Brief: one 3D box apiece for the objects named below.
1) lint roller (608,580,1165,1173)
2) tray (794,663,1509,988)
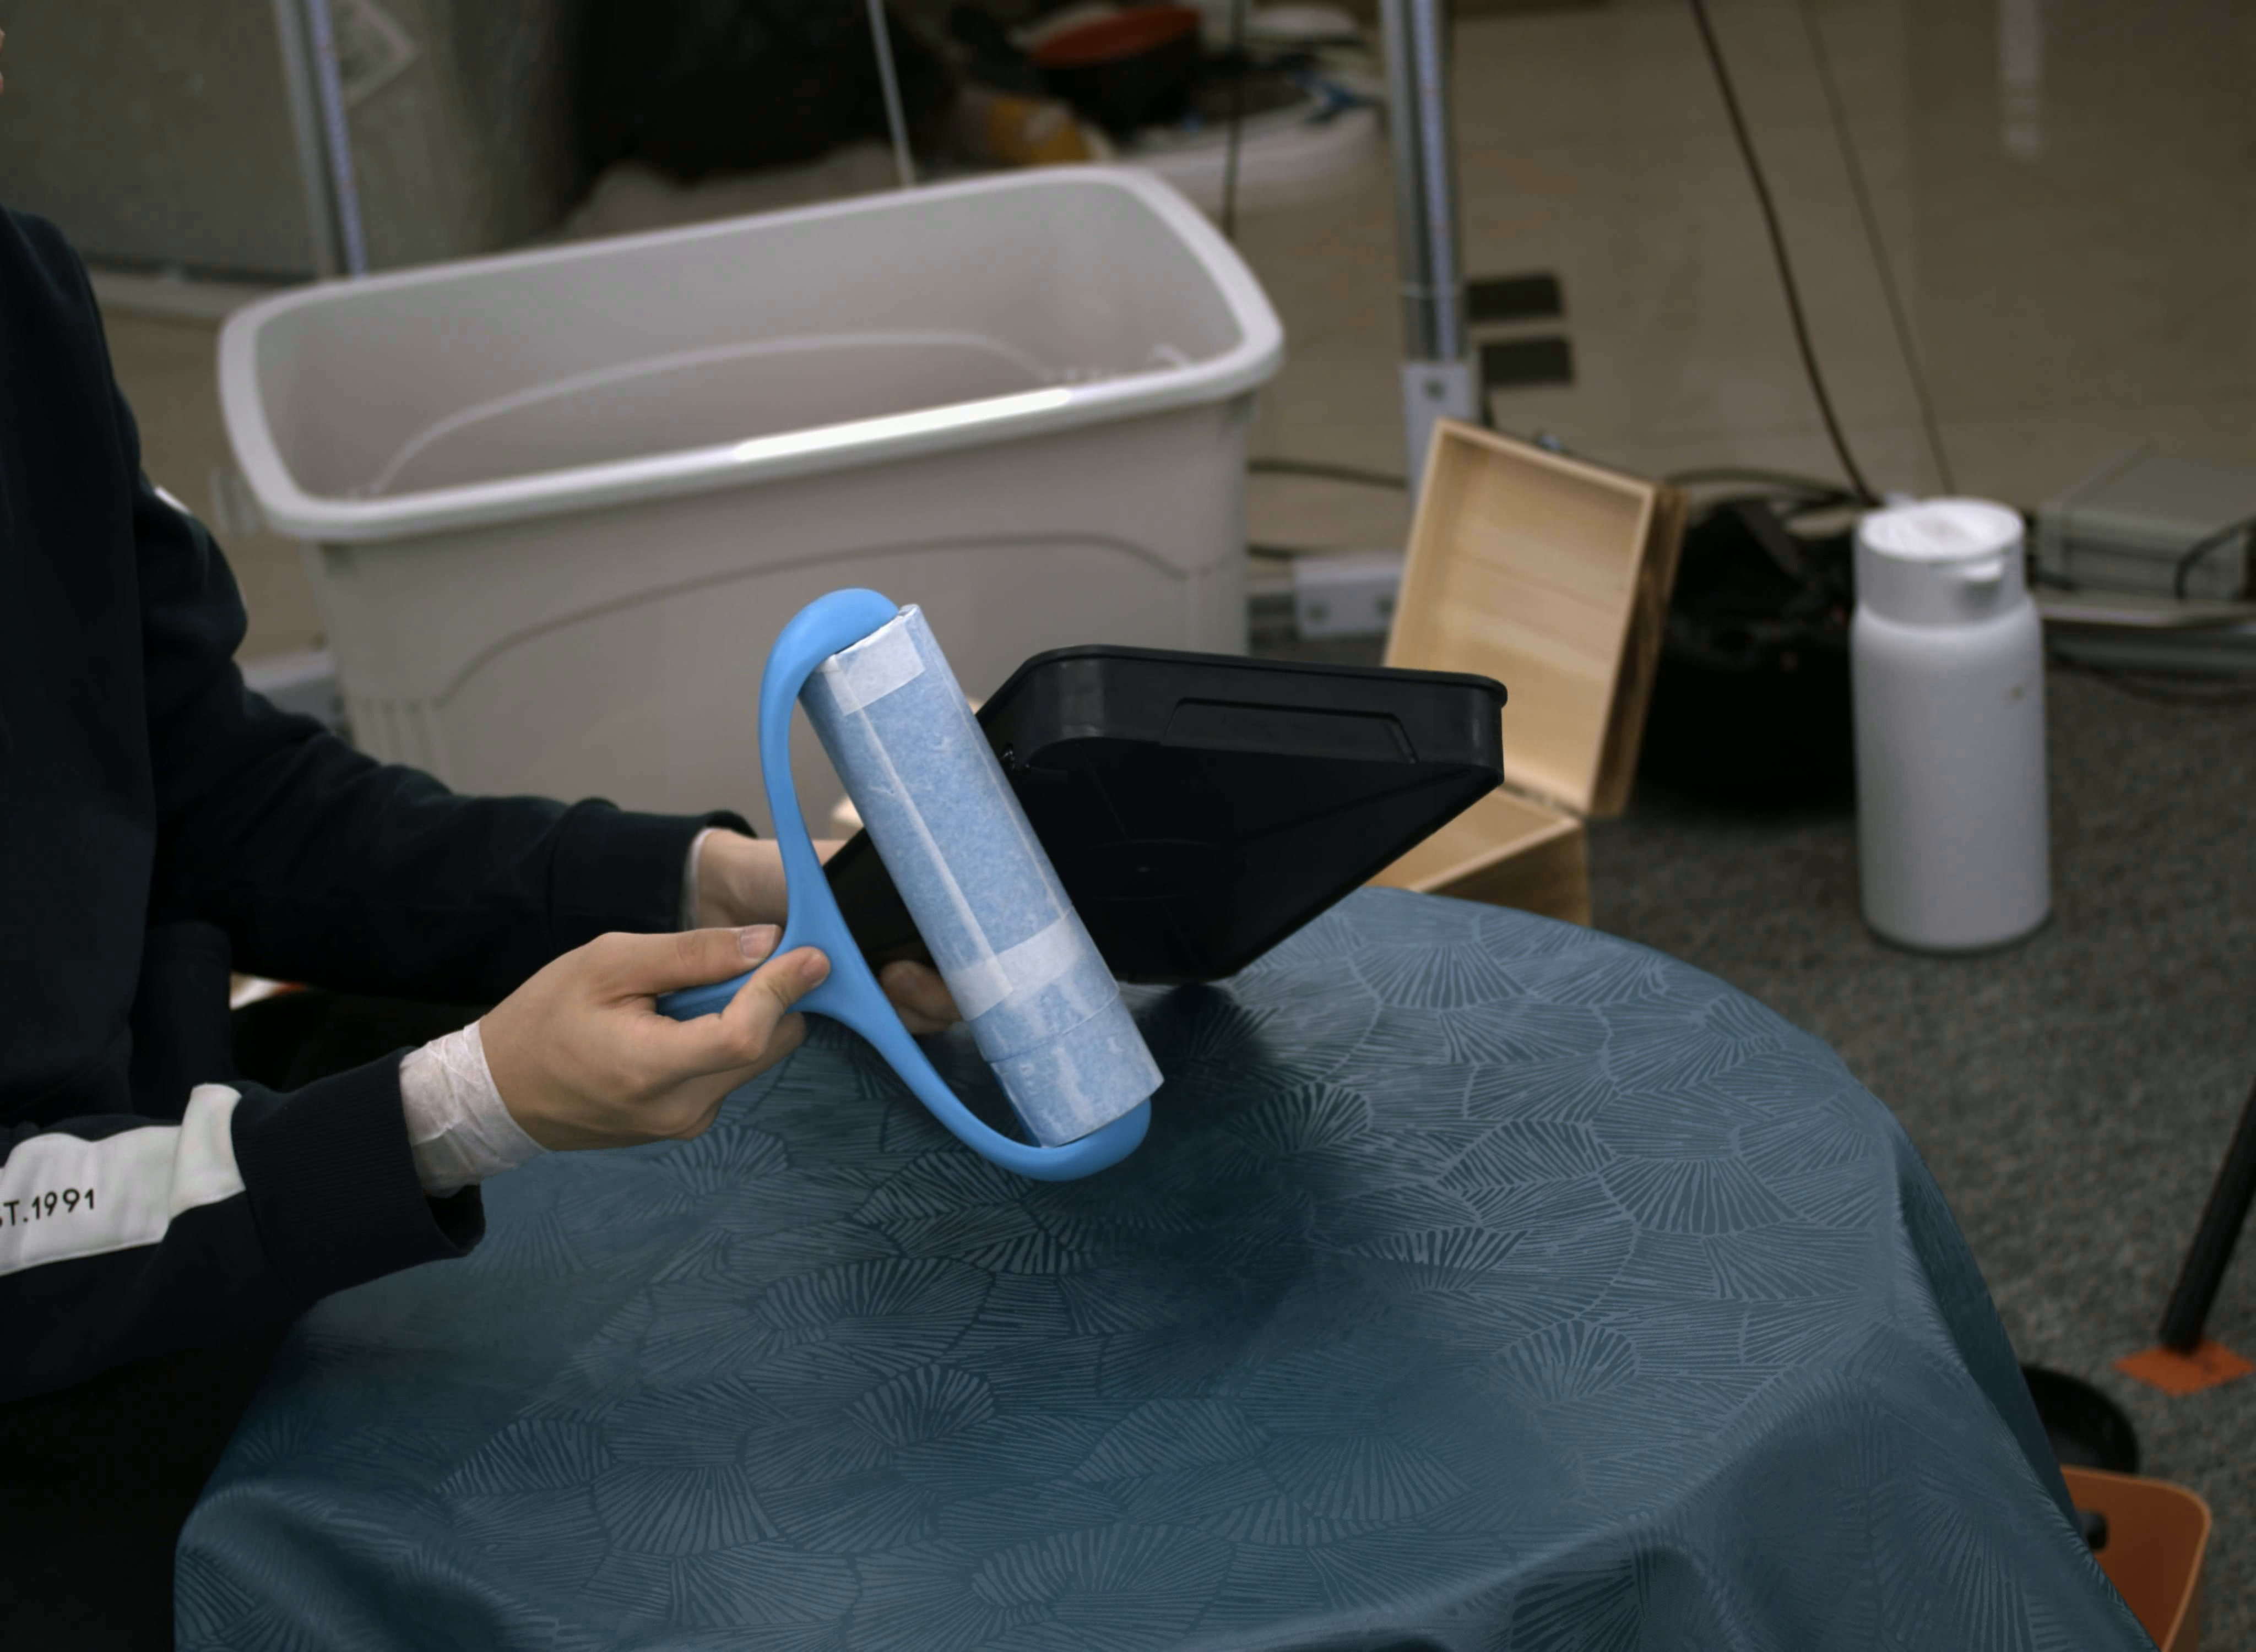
[{"bbox_3d":[-0.106,0.046,2.013,0.180,0.230,0.067,-29,11,7],"label":"lint roller"},{"bbox_3d":[0.003,0.005,2.140,0.184,0.037,0.320,3,-16,-21],"label":"tray"}]
